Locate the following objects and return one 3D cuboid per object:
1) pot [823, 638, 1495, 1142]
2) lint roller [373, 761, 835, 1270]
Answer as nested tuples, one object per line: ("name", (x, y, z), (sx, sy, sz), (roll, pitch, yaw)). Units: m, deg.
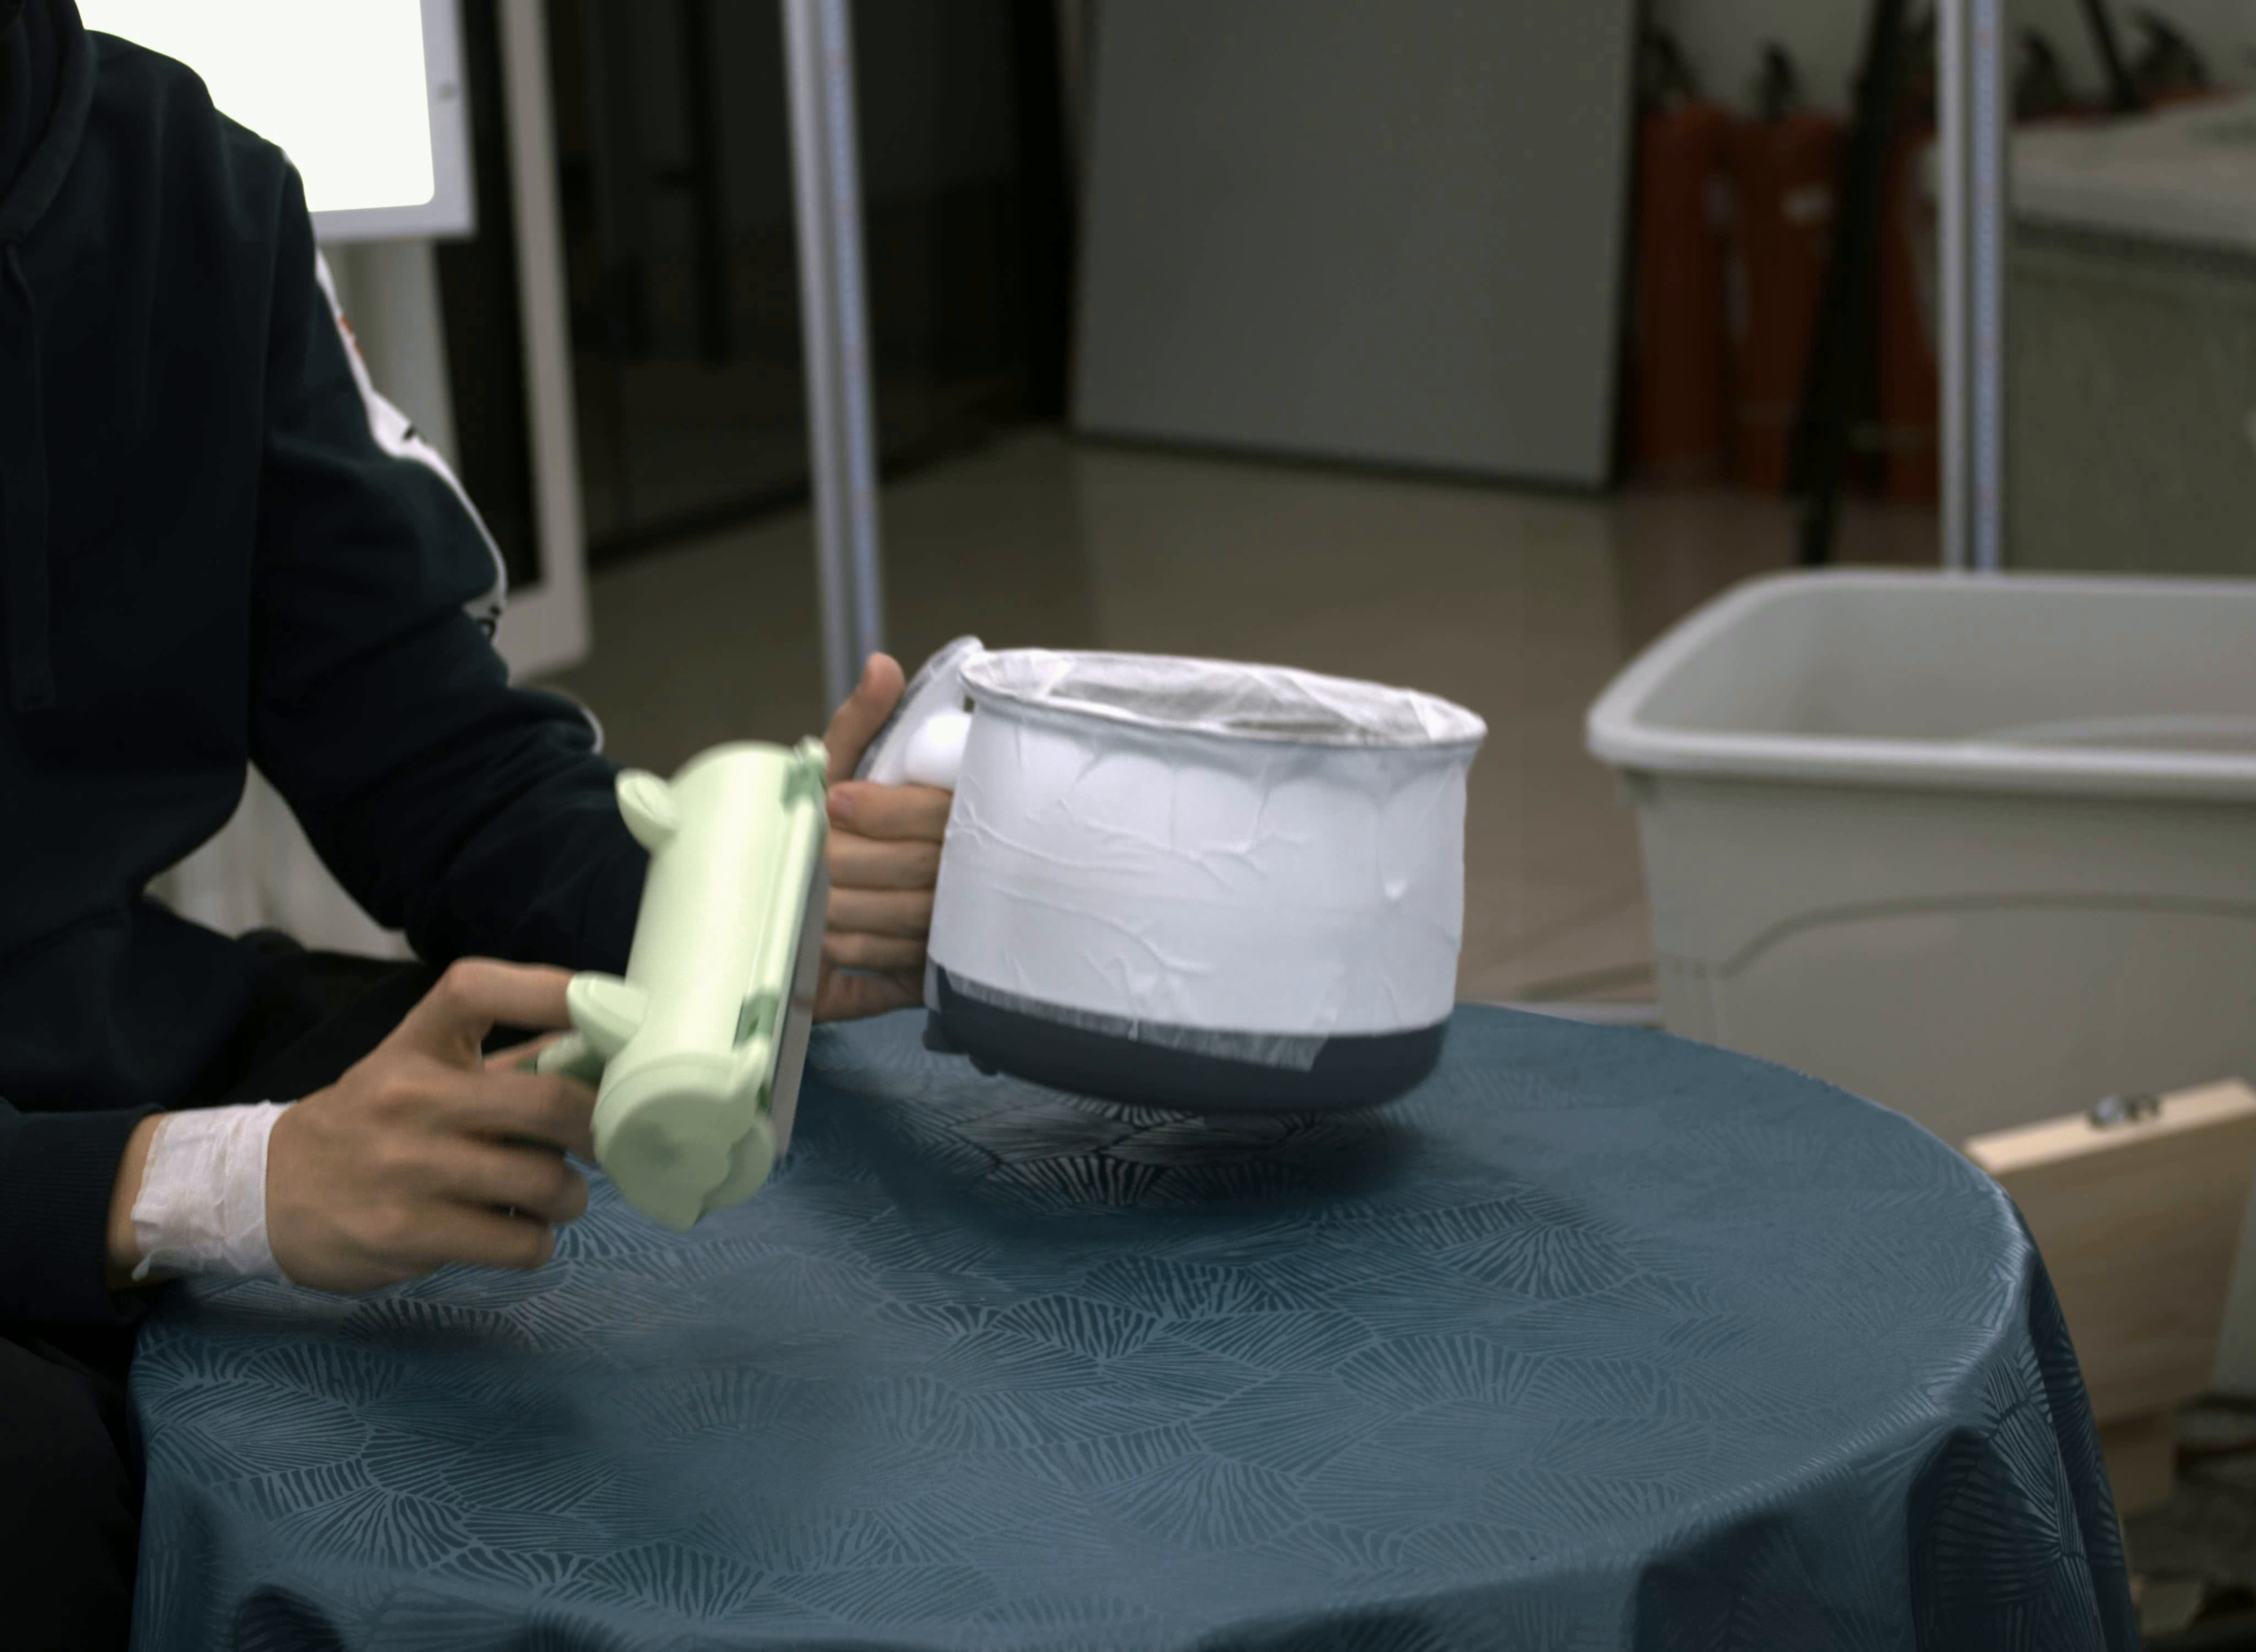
("pot", (0.003, 0.017, 1.799), (0.234, 0.138, 0.176), (12, 9, 29))
("lint roller", (-0.172, 0.069, 1.636), (0.183, 0.082, 0.199), (-28, 24, 20))
